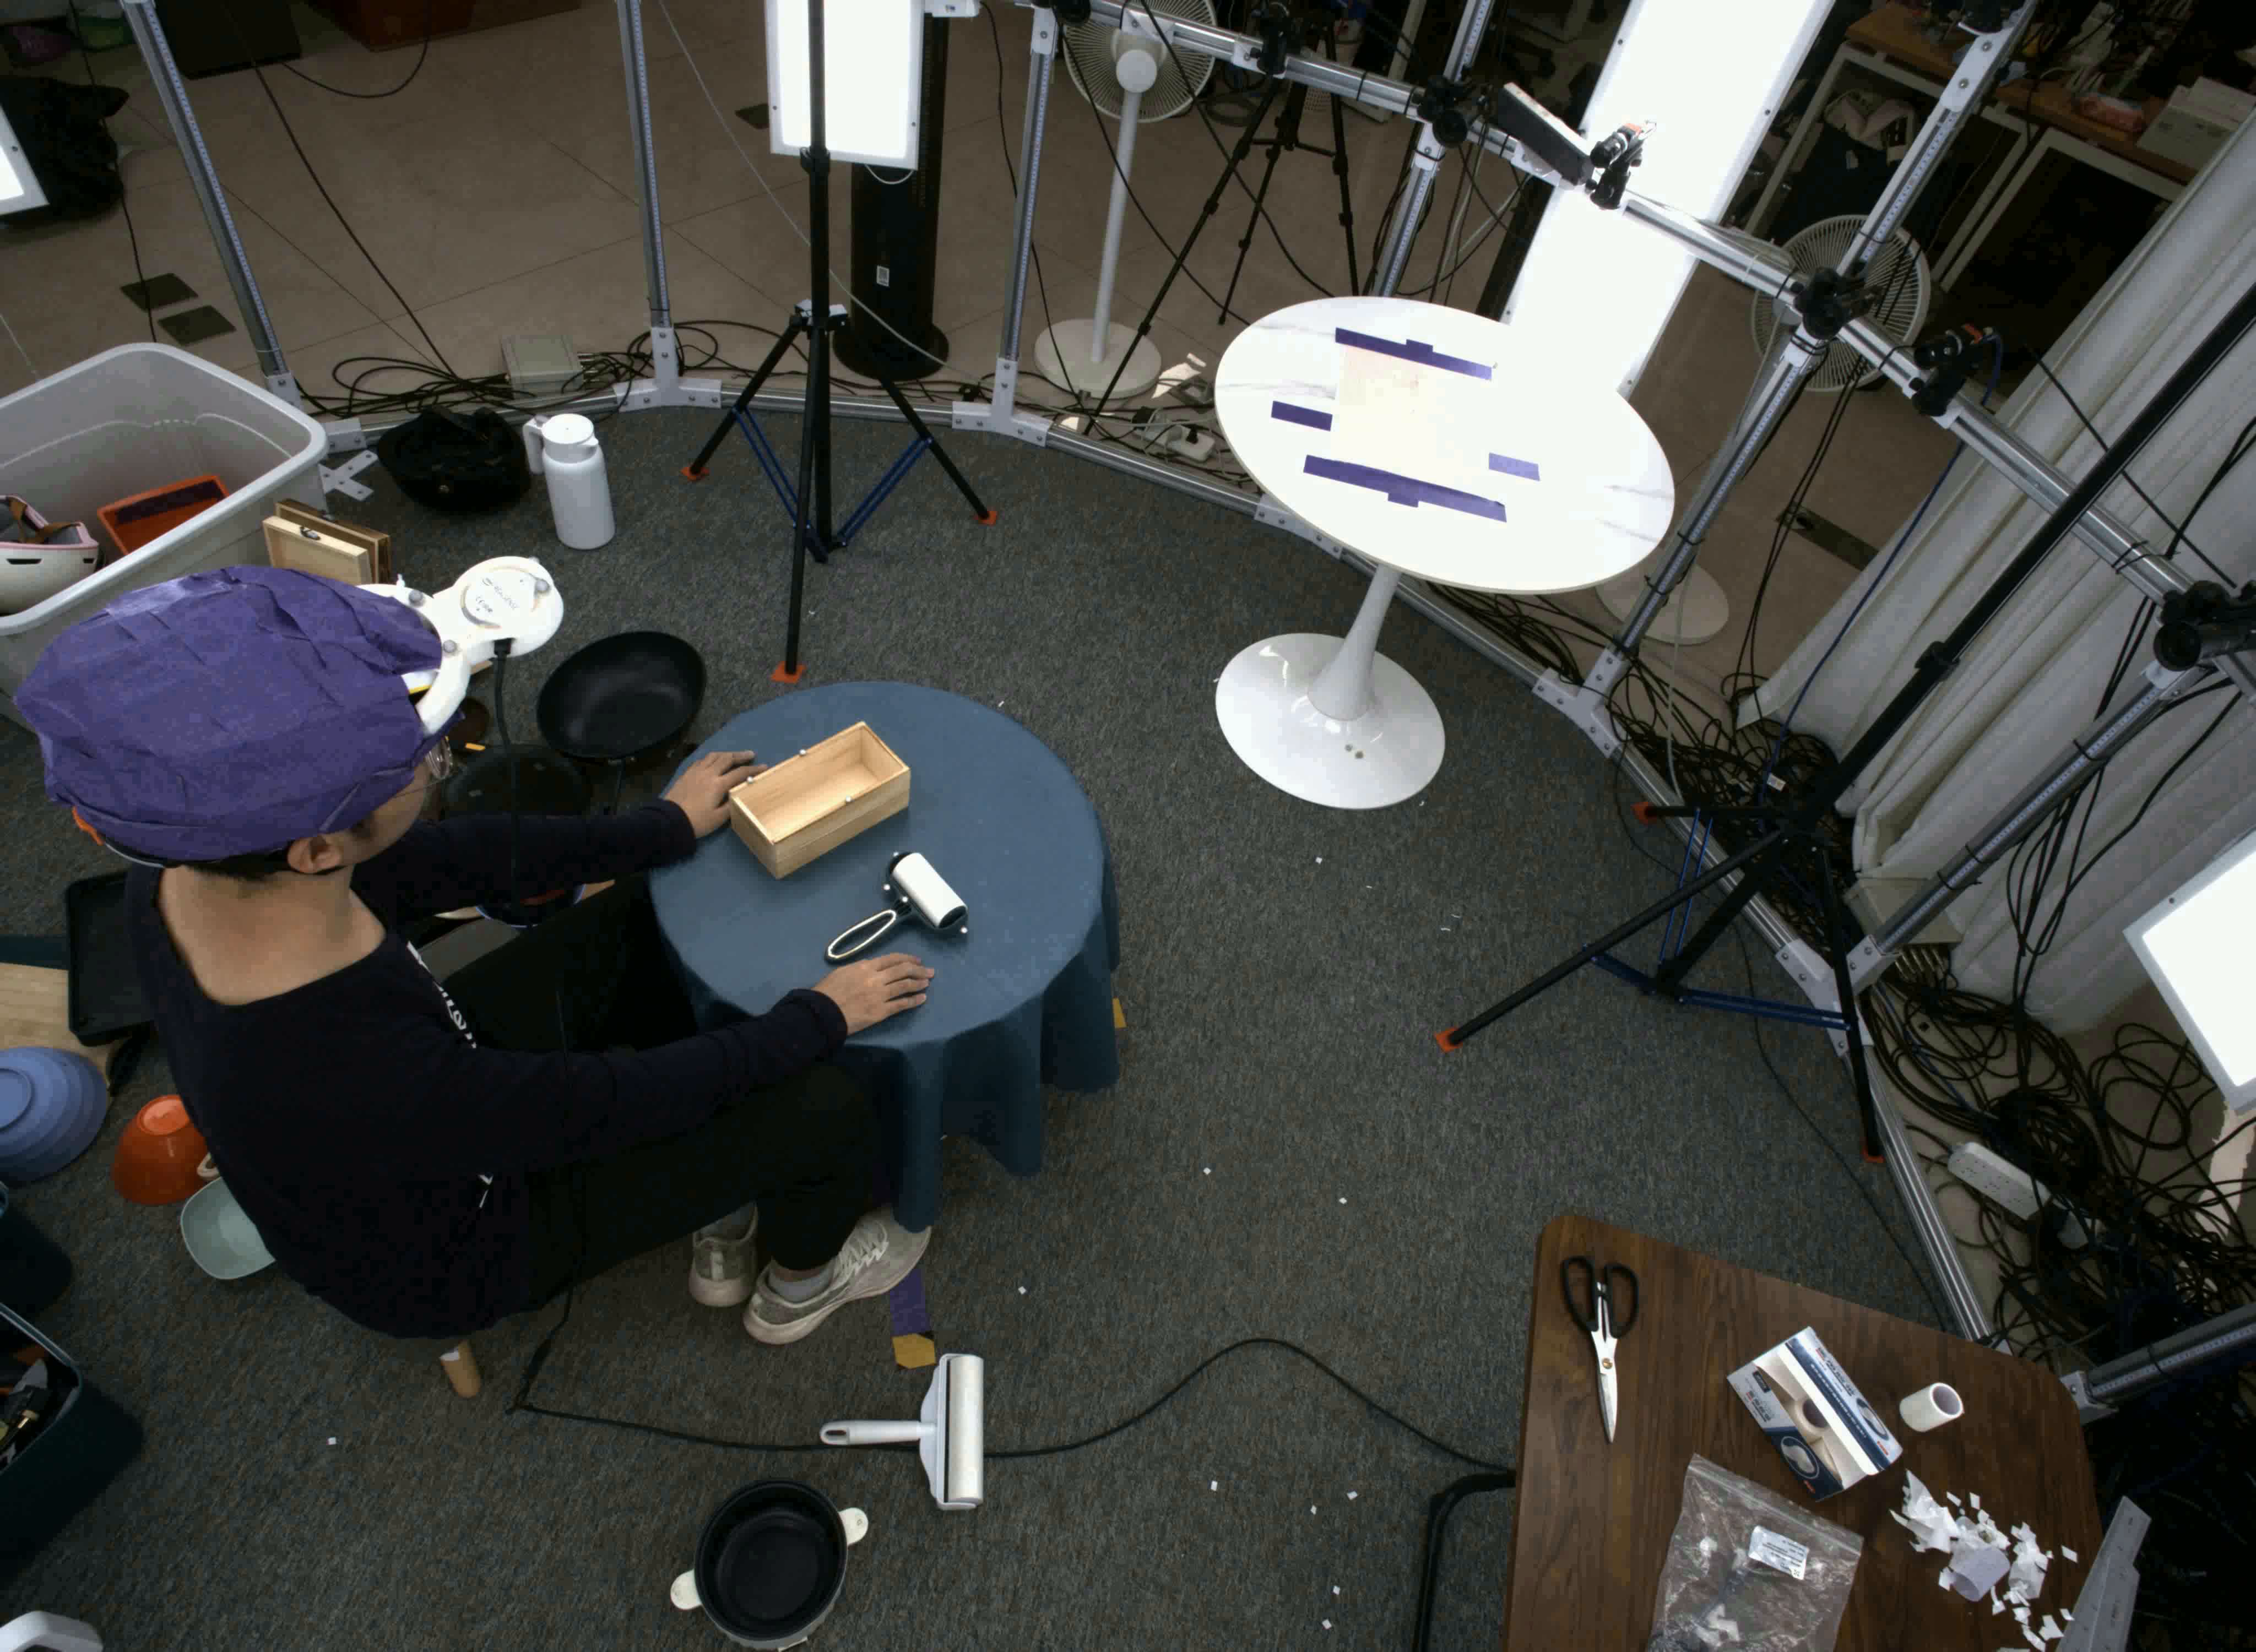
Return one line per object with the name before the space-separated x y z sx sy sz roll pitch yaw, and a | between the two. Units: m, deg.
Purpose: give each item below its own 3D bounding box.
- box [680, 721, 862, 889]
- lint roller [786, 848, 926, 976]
box | -0.464 -0.030 1.696 0.105 0.082 0.212 41 57 17
lint roller | -0.358 0.120 1.637 0.131 0.049 0.180 42 58 19
